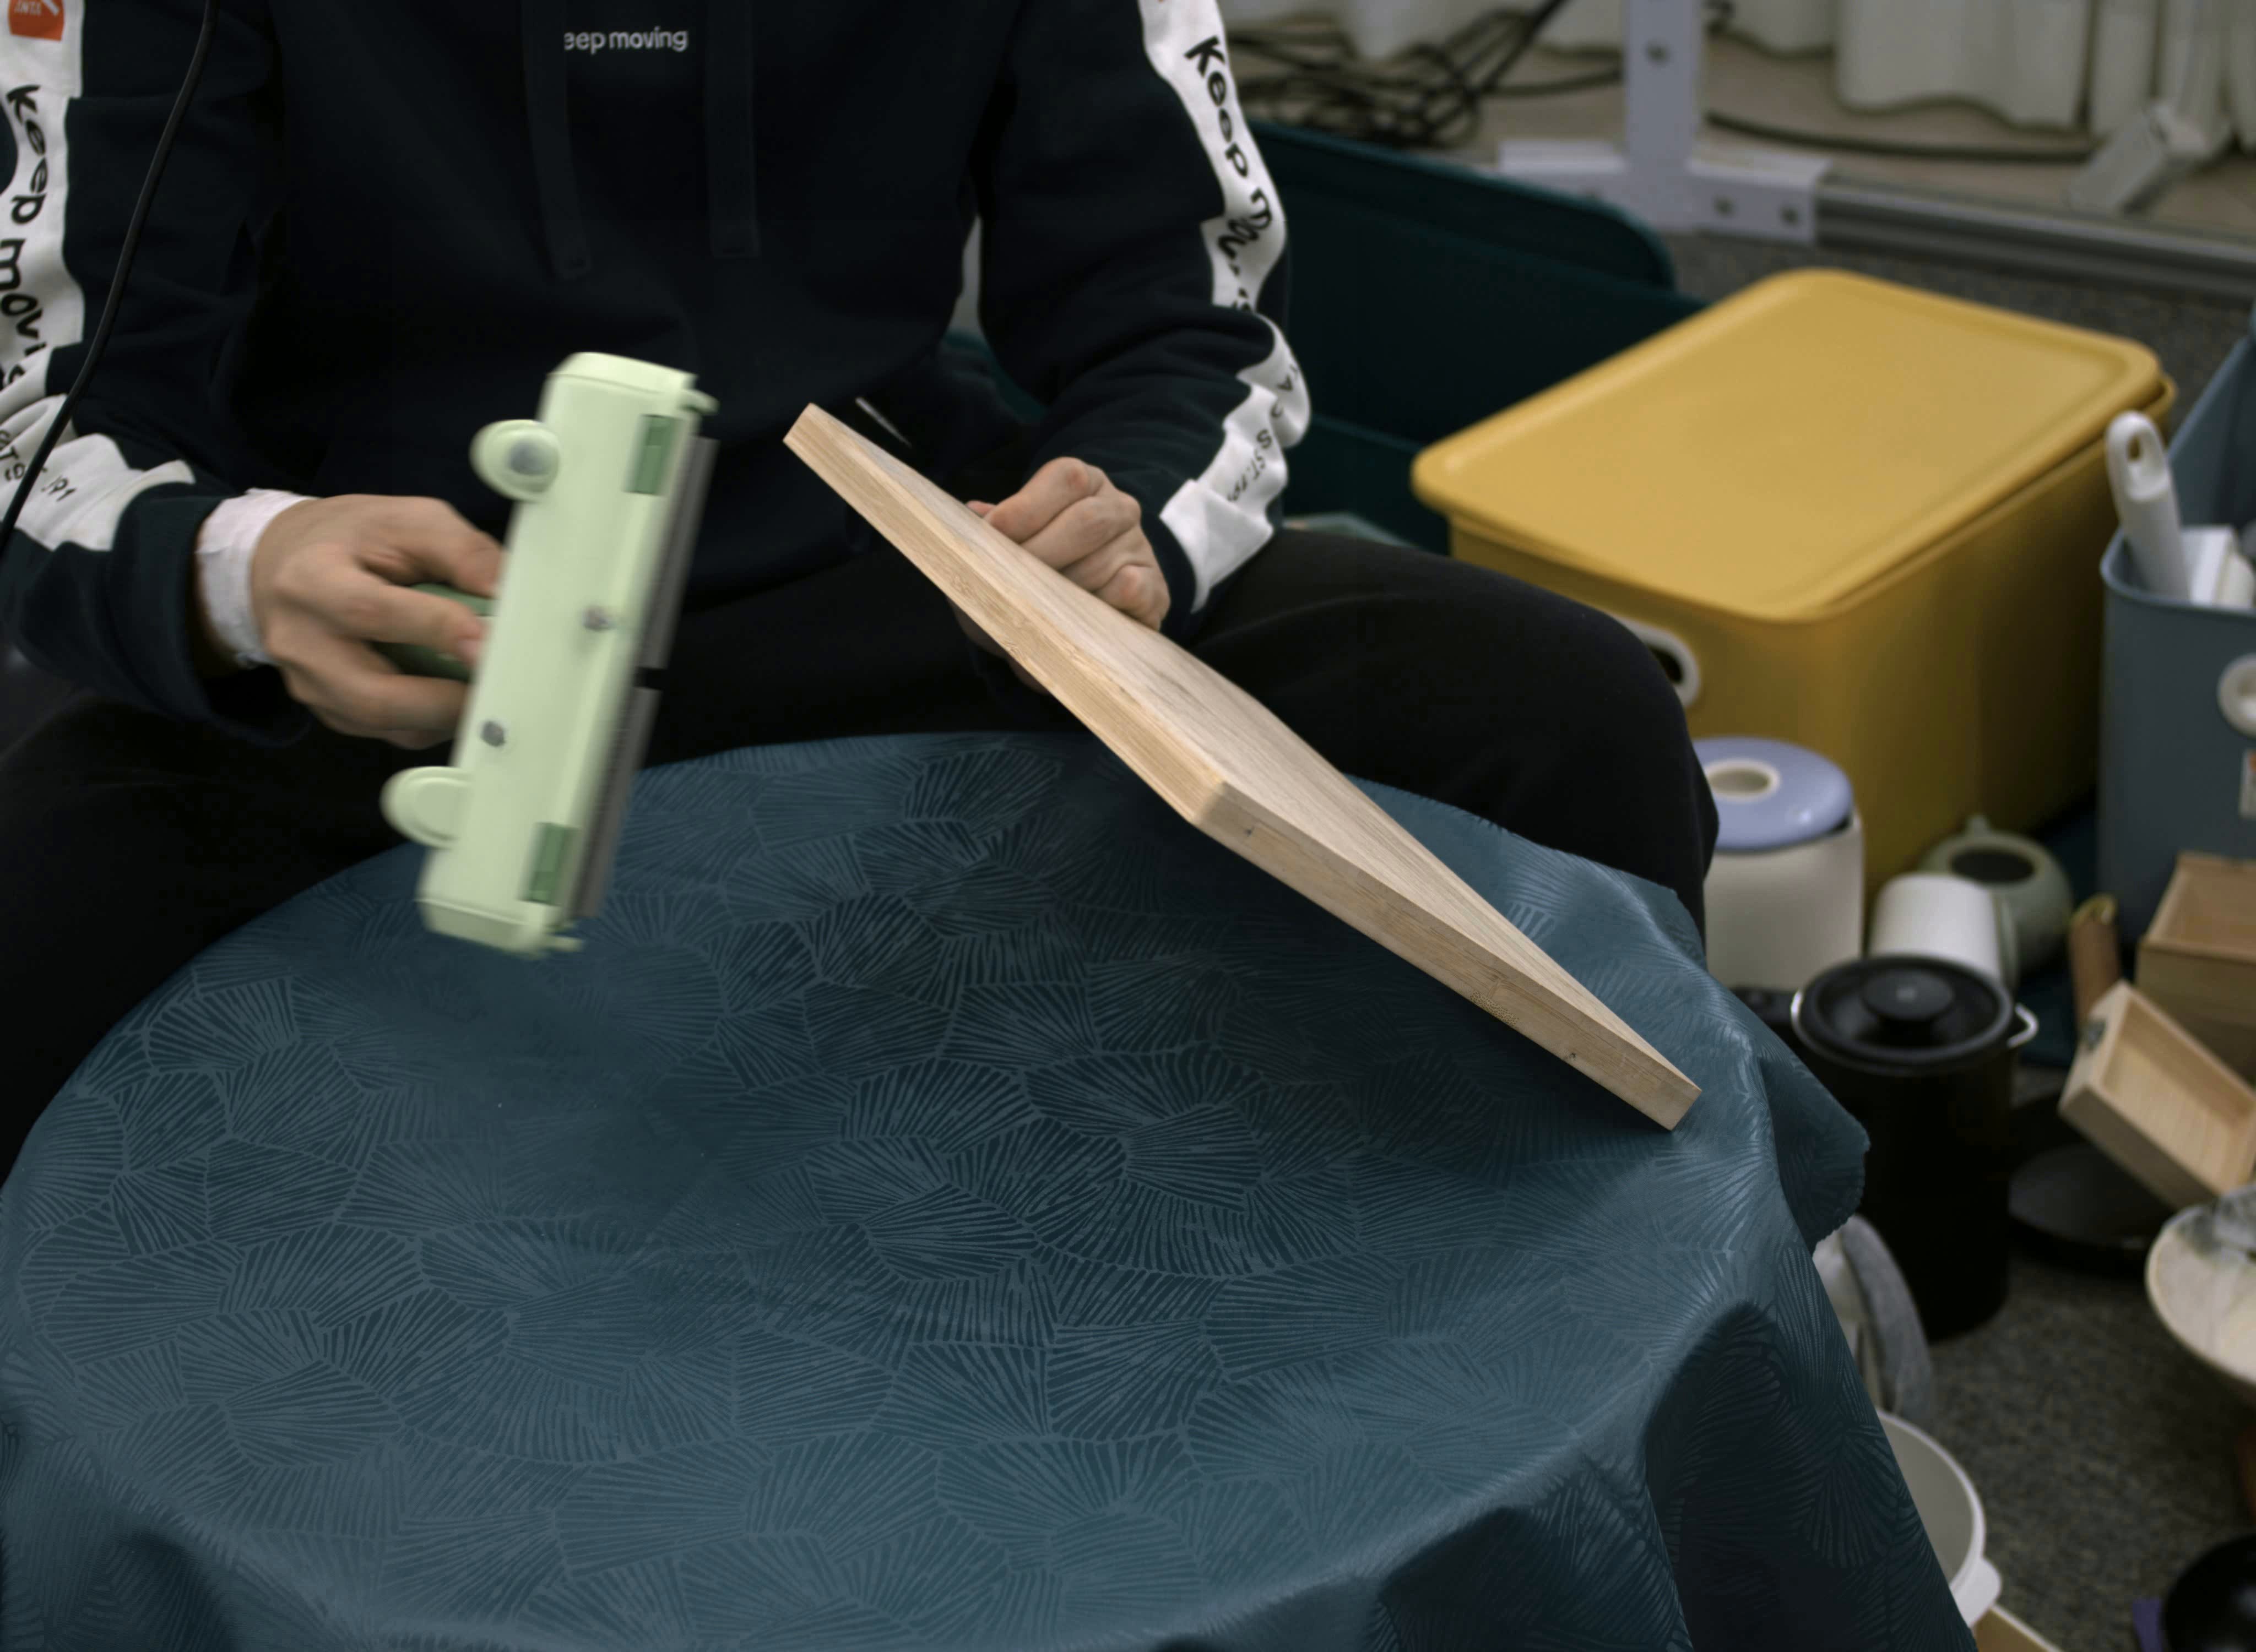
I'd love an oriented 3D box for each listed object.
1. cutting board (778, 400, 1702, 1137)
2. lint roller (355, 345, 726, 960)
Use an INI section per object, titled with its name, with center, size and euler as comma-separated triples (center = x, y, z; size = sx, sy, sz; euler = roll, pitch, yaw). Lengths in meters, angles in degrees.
[cutting board]
center = 0.032, -0.025, 1.950
size = 0.249, 0.023, 0.351
euler = 33, 6, -36
[lint roller]
center = -0.219, -0.064, 1.861
size = 0.182, 0.200, 0.082
euler = 9, -6, 44
